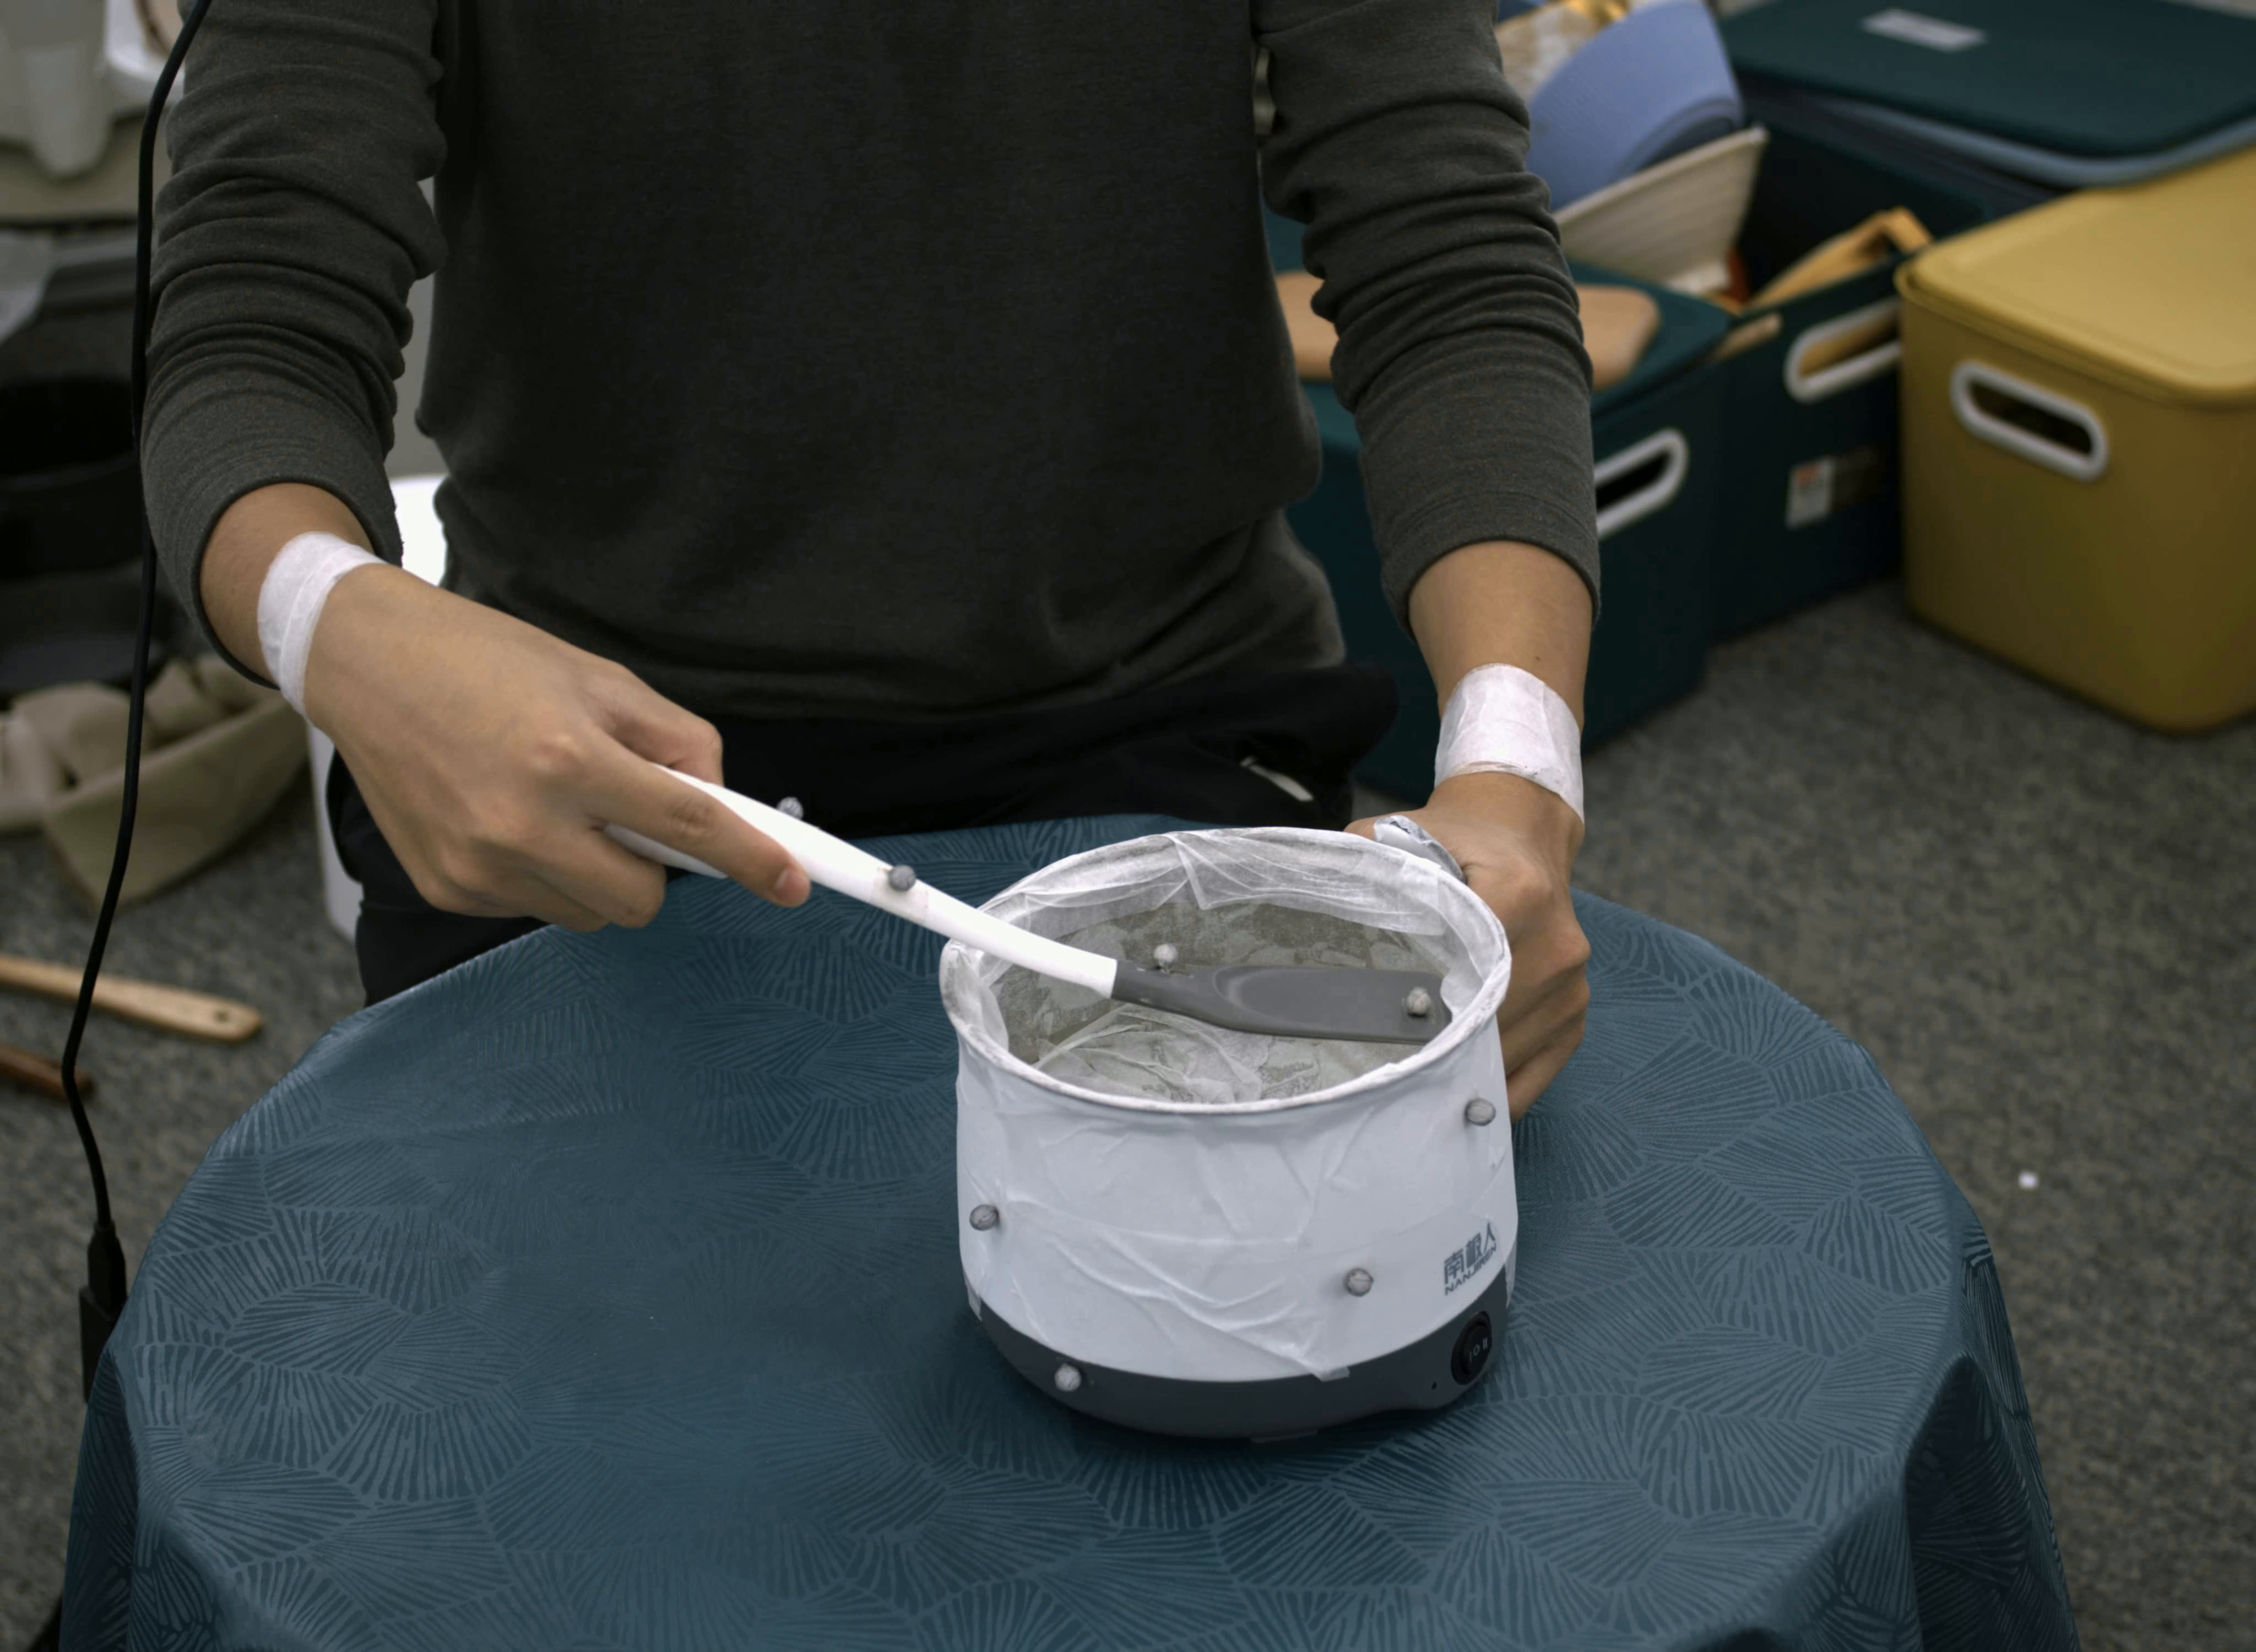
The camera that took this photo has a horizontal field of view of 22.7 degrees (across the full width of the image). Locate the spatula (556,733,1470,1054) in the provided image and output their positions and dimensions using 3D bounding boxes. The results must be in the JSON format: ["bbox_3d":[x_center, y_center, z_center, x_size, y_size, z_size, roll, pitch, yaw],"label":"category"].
[{"bbox_3d":[-0.033,0.027,1.718,0.286,0.032,0.059,16,18,-6],"label":"spatula"}]

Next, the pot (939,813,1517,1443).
[{"bbox_3d":[0.048,0.086,1.778,0.178,0.135,0.237,15,32,30],"label":"pot"}]
